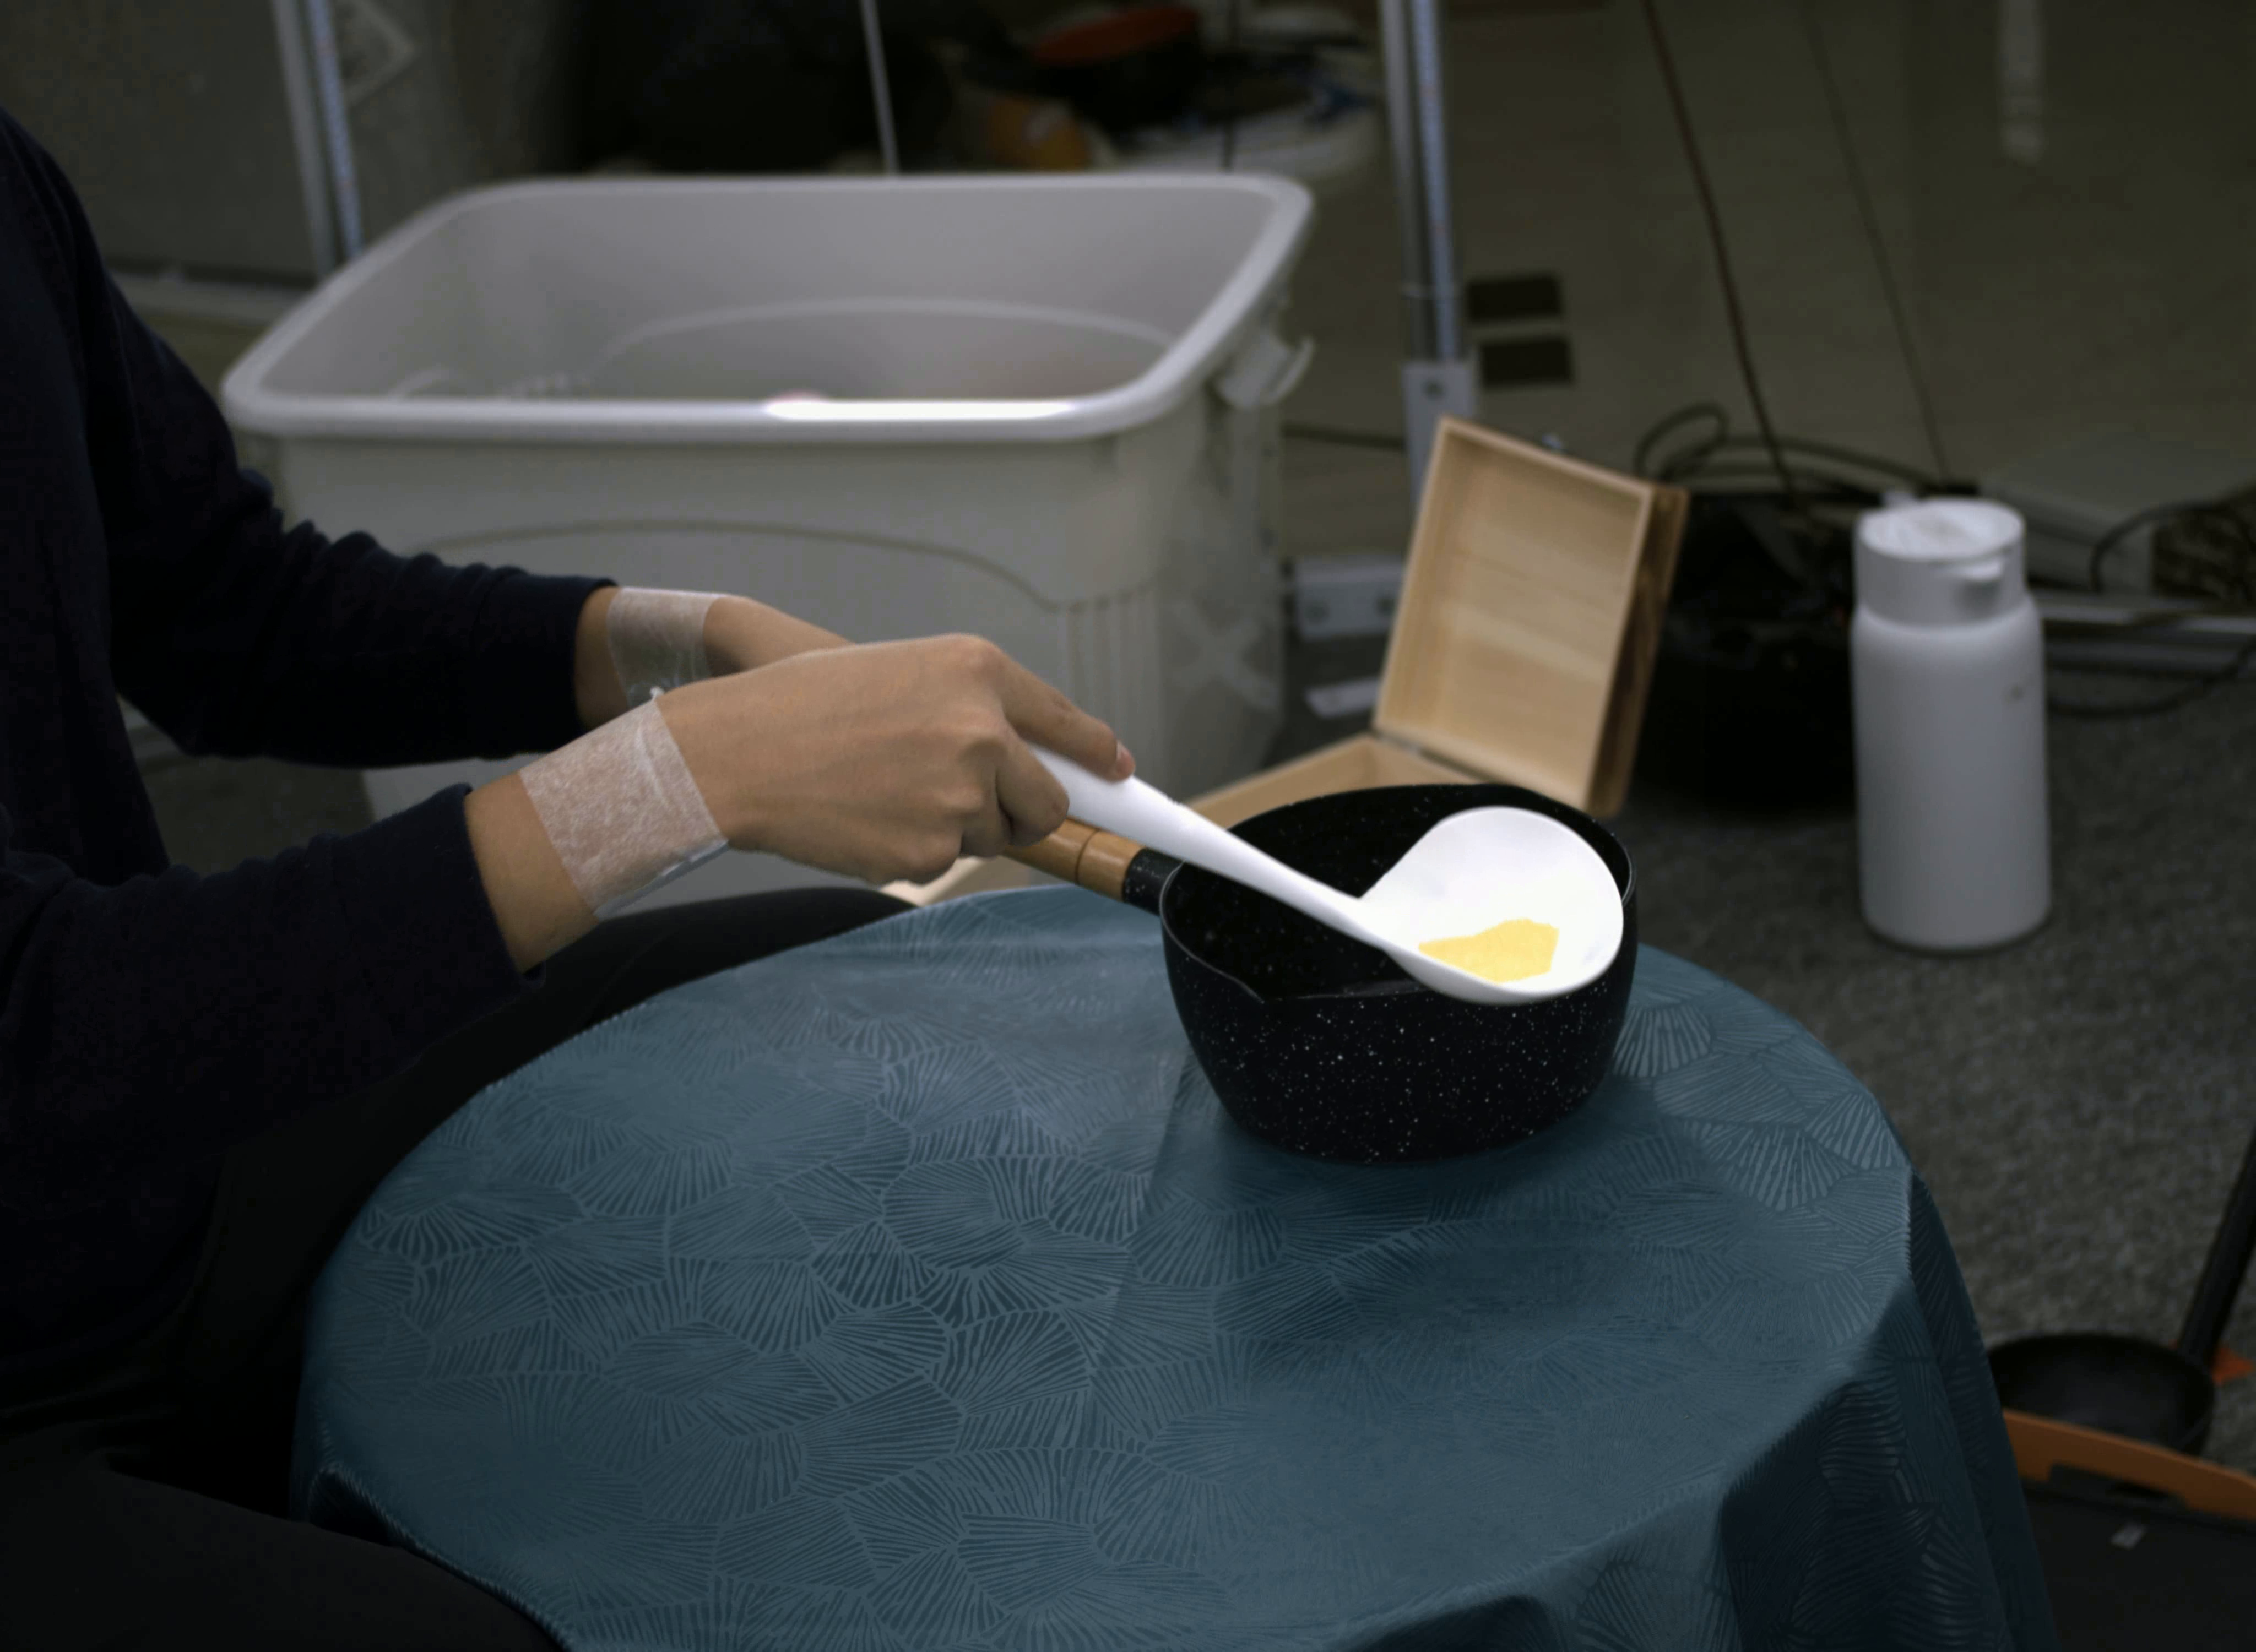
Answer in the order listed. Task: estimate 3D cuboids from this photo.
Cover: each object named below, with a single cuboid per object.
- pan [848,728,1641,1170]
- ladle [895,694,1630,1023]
[{"bbox_3d":[0.038,0.038,2.221,0.341,0.110,0.205,10,31,28],"label":"pan"},{"bbox_3d":[0.051,0.003,1.960,0.295,0.070,0.088,22,44,-38],"label":"ladle"}]
